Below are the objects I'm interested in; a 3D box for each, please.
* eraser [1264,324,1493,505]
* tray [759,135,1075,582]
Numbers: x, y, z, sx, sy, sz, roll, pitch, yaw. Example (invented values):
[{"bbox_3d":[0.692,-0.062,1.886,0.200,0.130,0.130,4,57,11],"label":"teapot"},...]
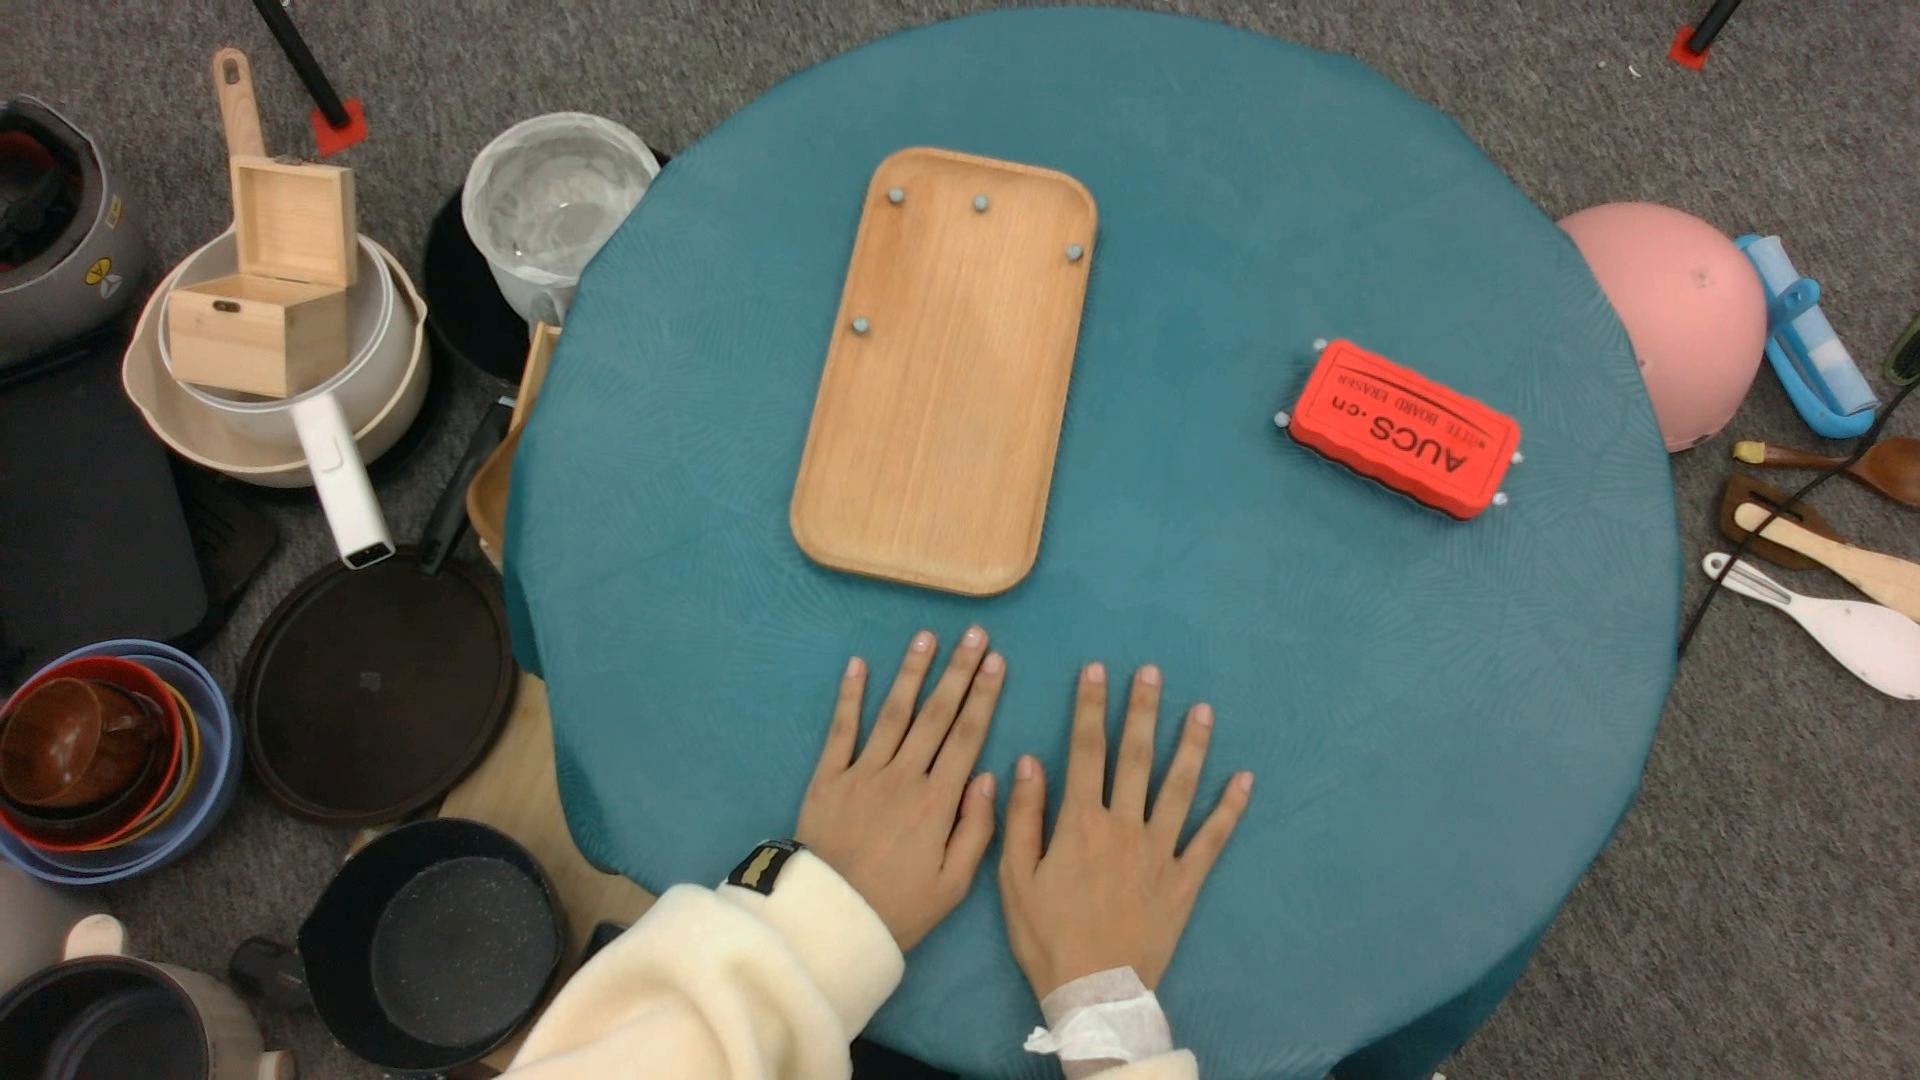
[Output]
[{"bbox_3d":[0.219,-0.066,0.723,0.108,0.023,0.059,28,70,7],"label":"eraser"},{"bbox_3d":[-0.019,-0.101,0.725,0.130,0.023,0.251,11,70,4],"label":"tray"}]
